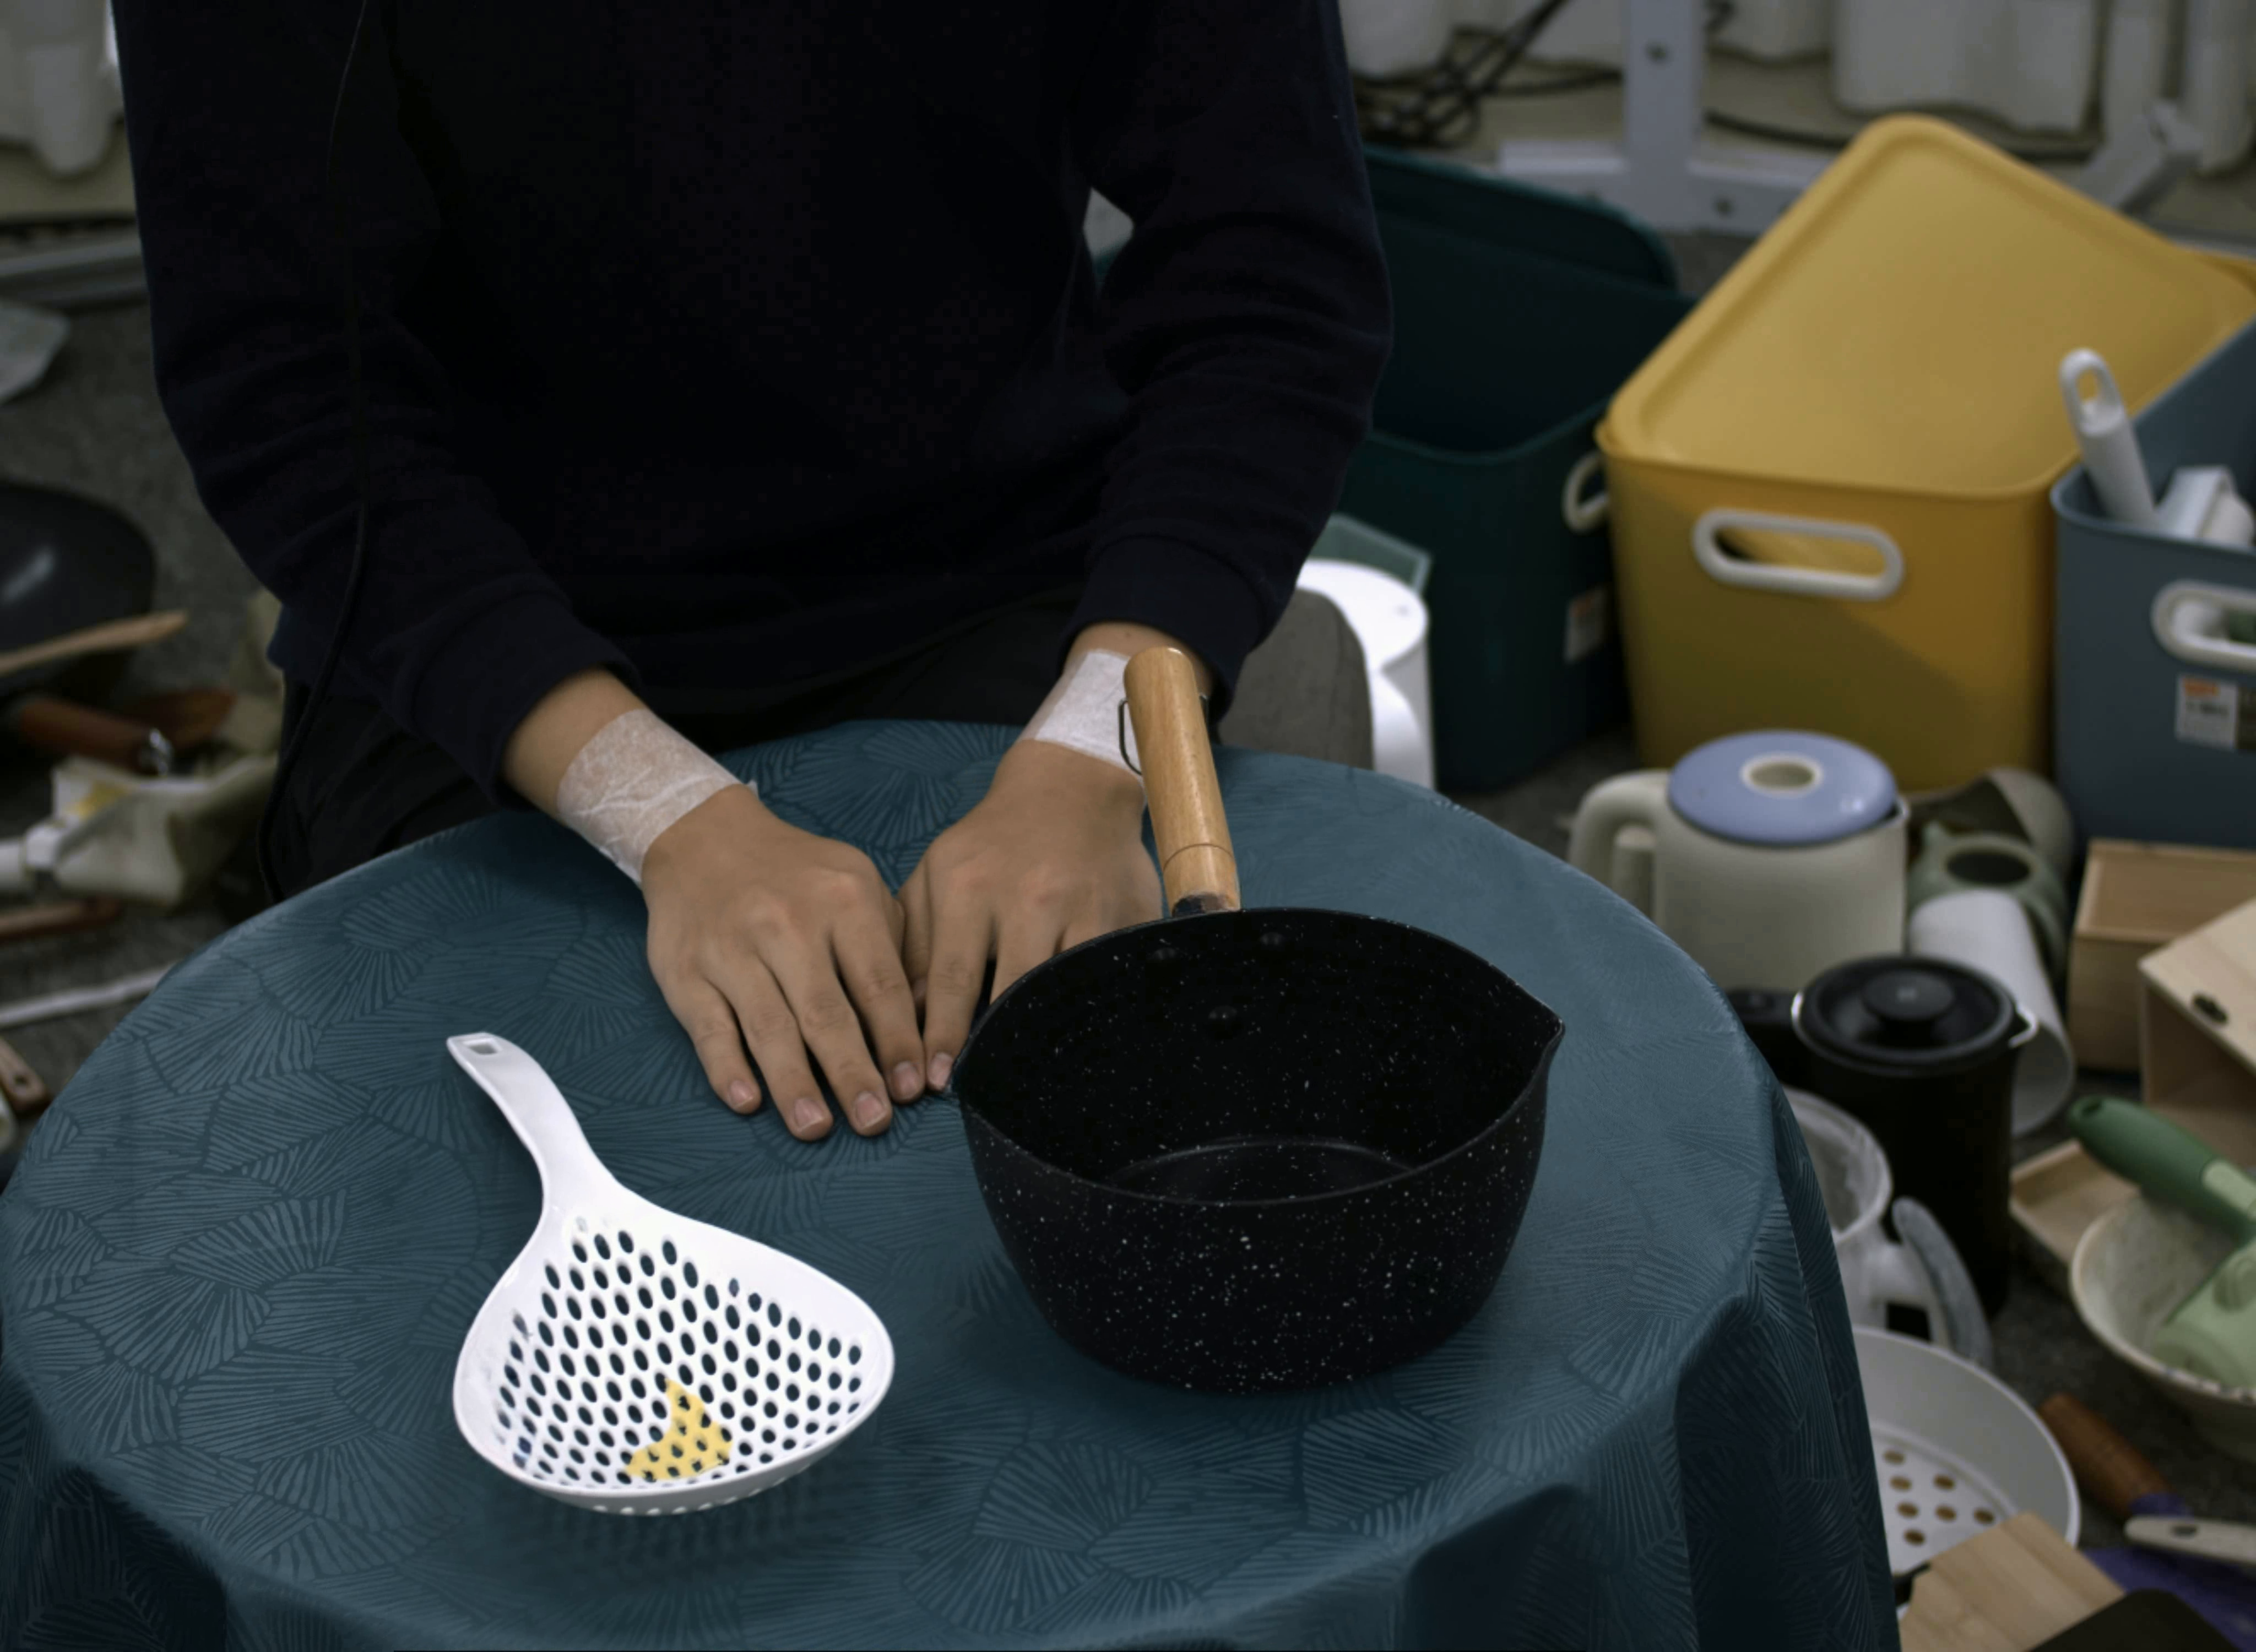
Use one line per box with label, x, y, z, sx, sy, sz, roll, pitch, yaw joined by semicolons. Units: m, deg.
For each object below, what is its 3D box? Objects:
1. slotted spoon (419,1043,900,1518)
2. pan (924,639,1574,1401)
slotted spoon;-0.175;0.134;1.810;0.137;0.050;0.351;-14;31;-16
pan;0.030;0.060;1.862;0.207;0.107;0.347;-7;29;-5
